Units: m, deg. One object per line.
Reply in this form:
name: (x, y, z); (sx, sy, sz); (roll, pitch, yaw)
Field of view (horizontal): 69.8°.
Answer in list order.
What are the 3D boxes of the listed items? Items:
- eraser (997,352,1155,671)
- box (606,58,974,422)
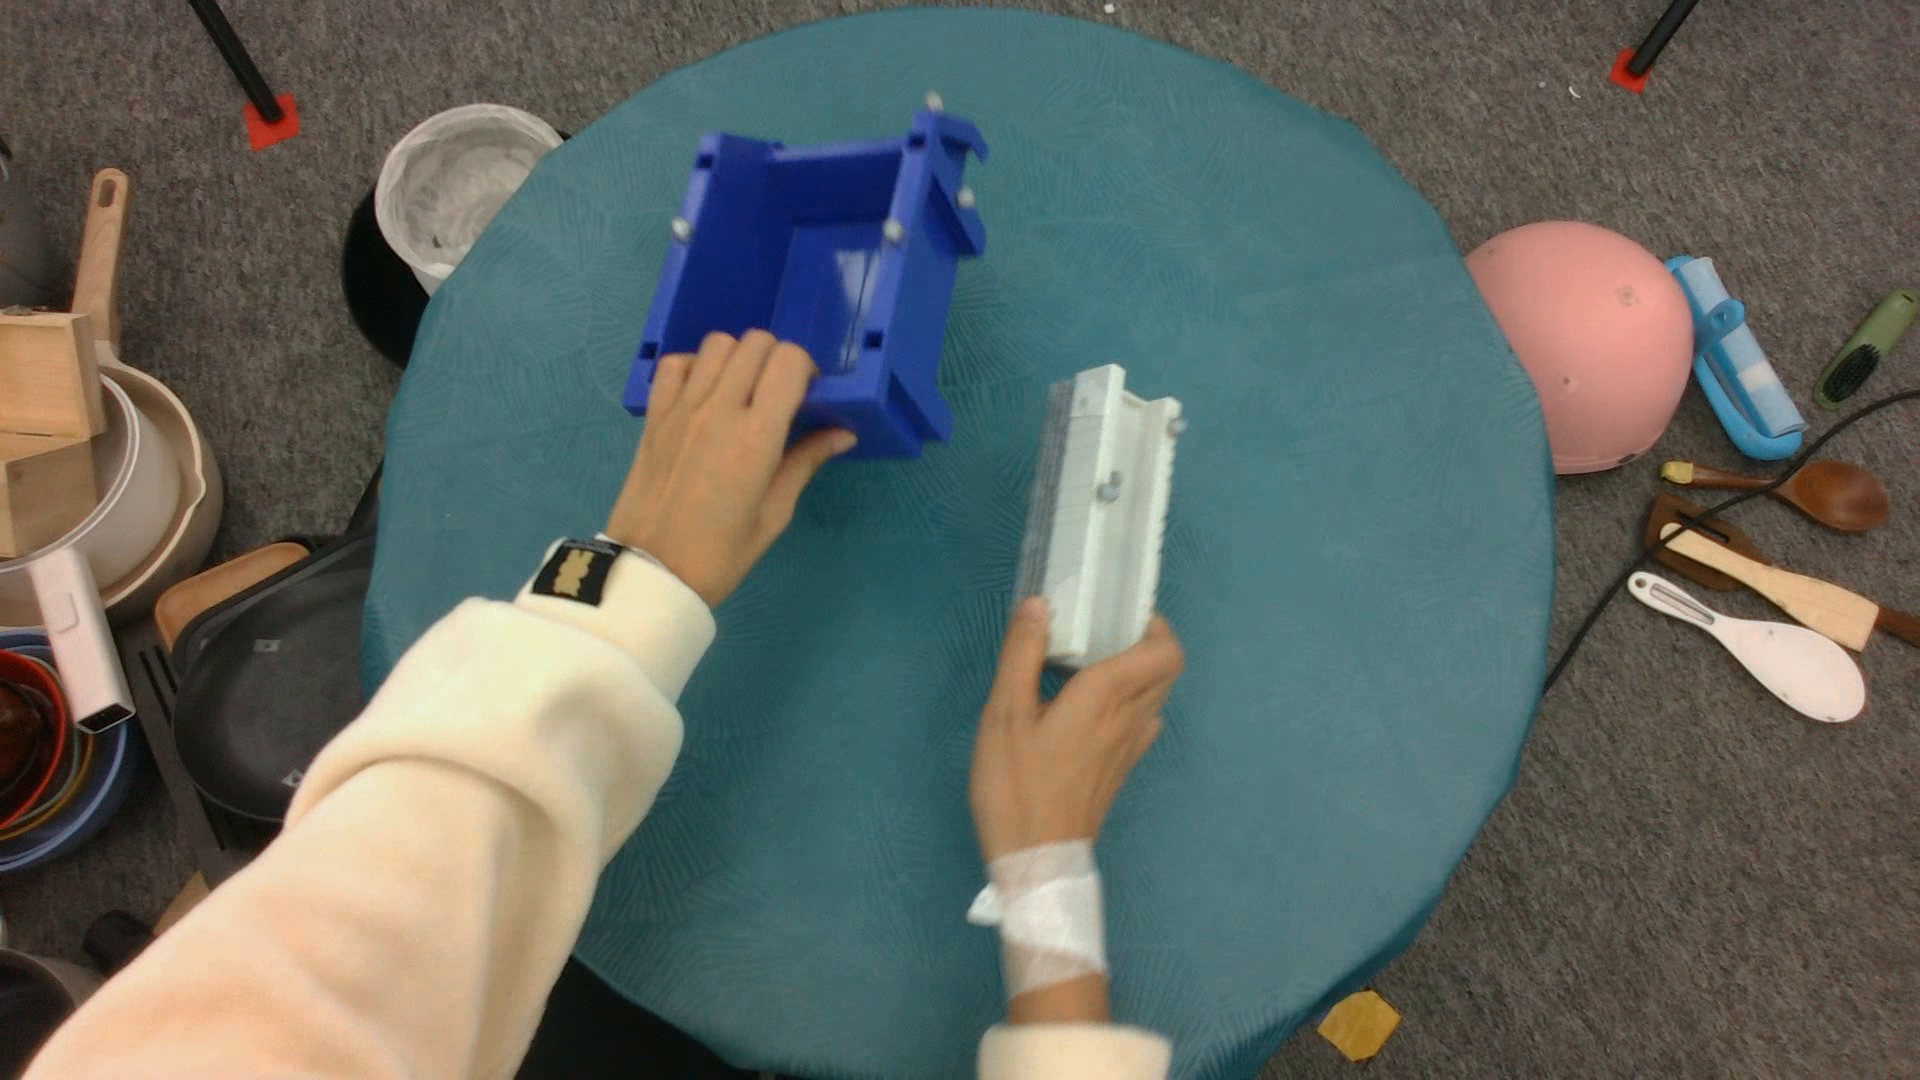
eraser: (0.052, -0.012, 0.620); (0.050, 0.046, 0.134); (23, 67, -44)
box: (-0.072, -0.141, 0.633); (0.124, 0.082, 0.180); (1, 69, 22)
